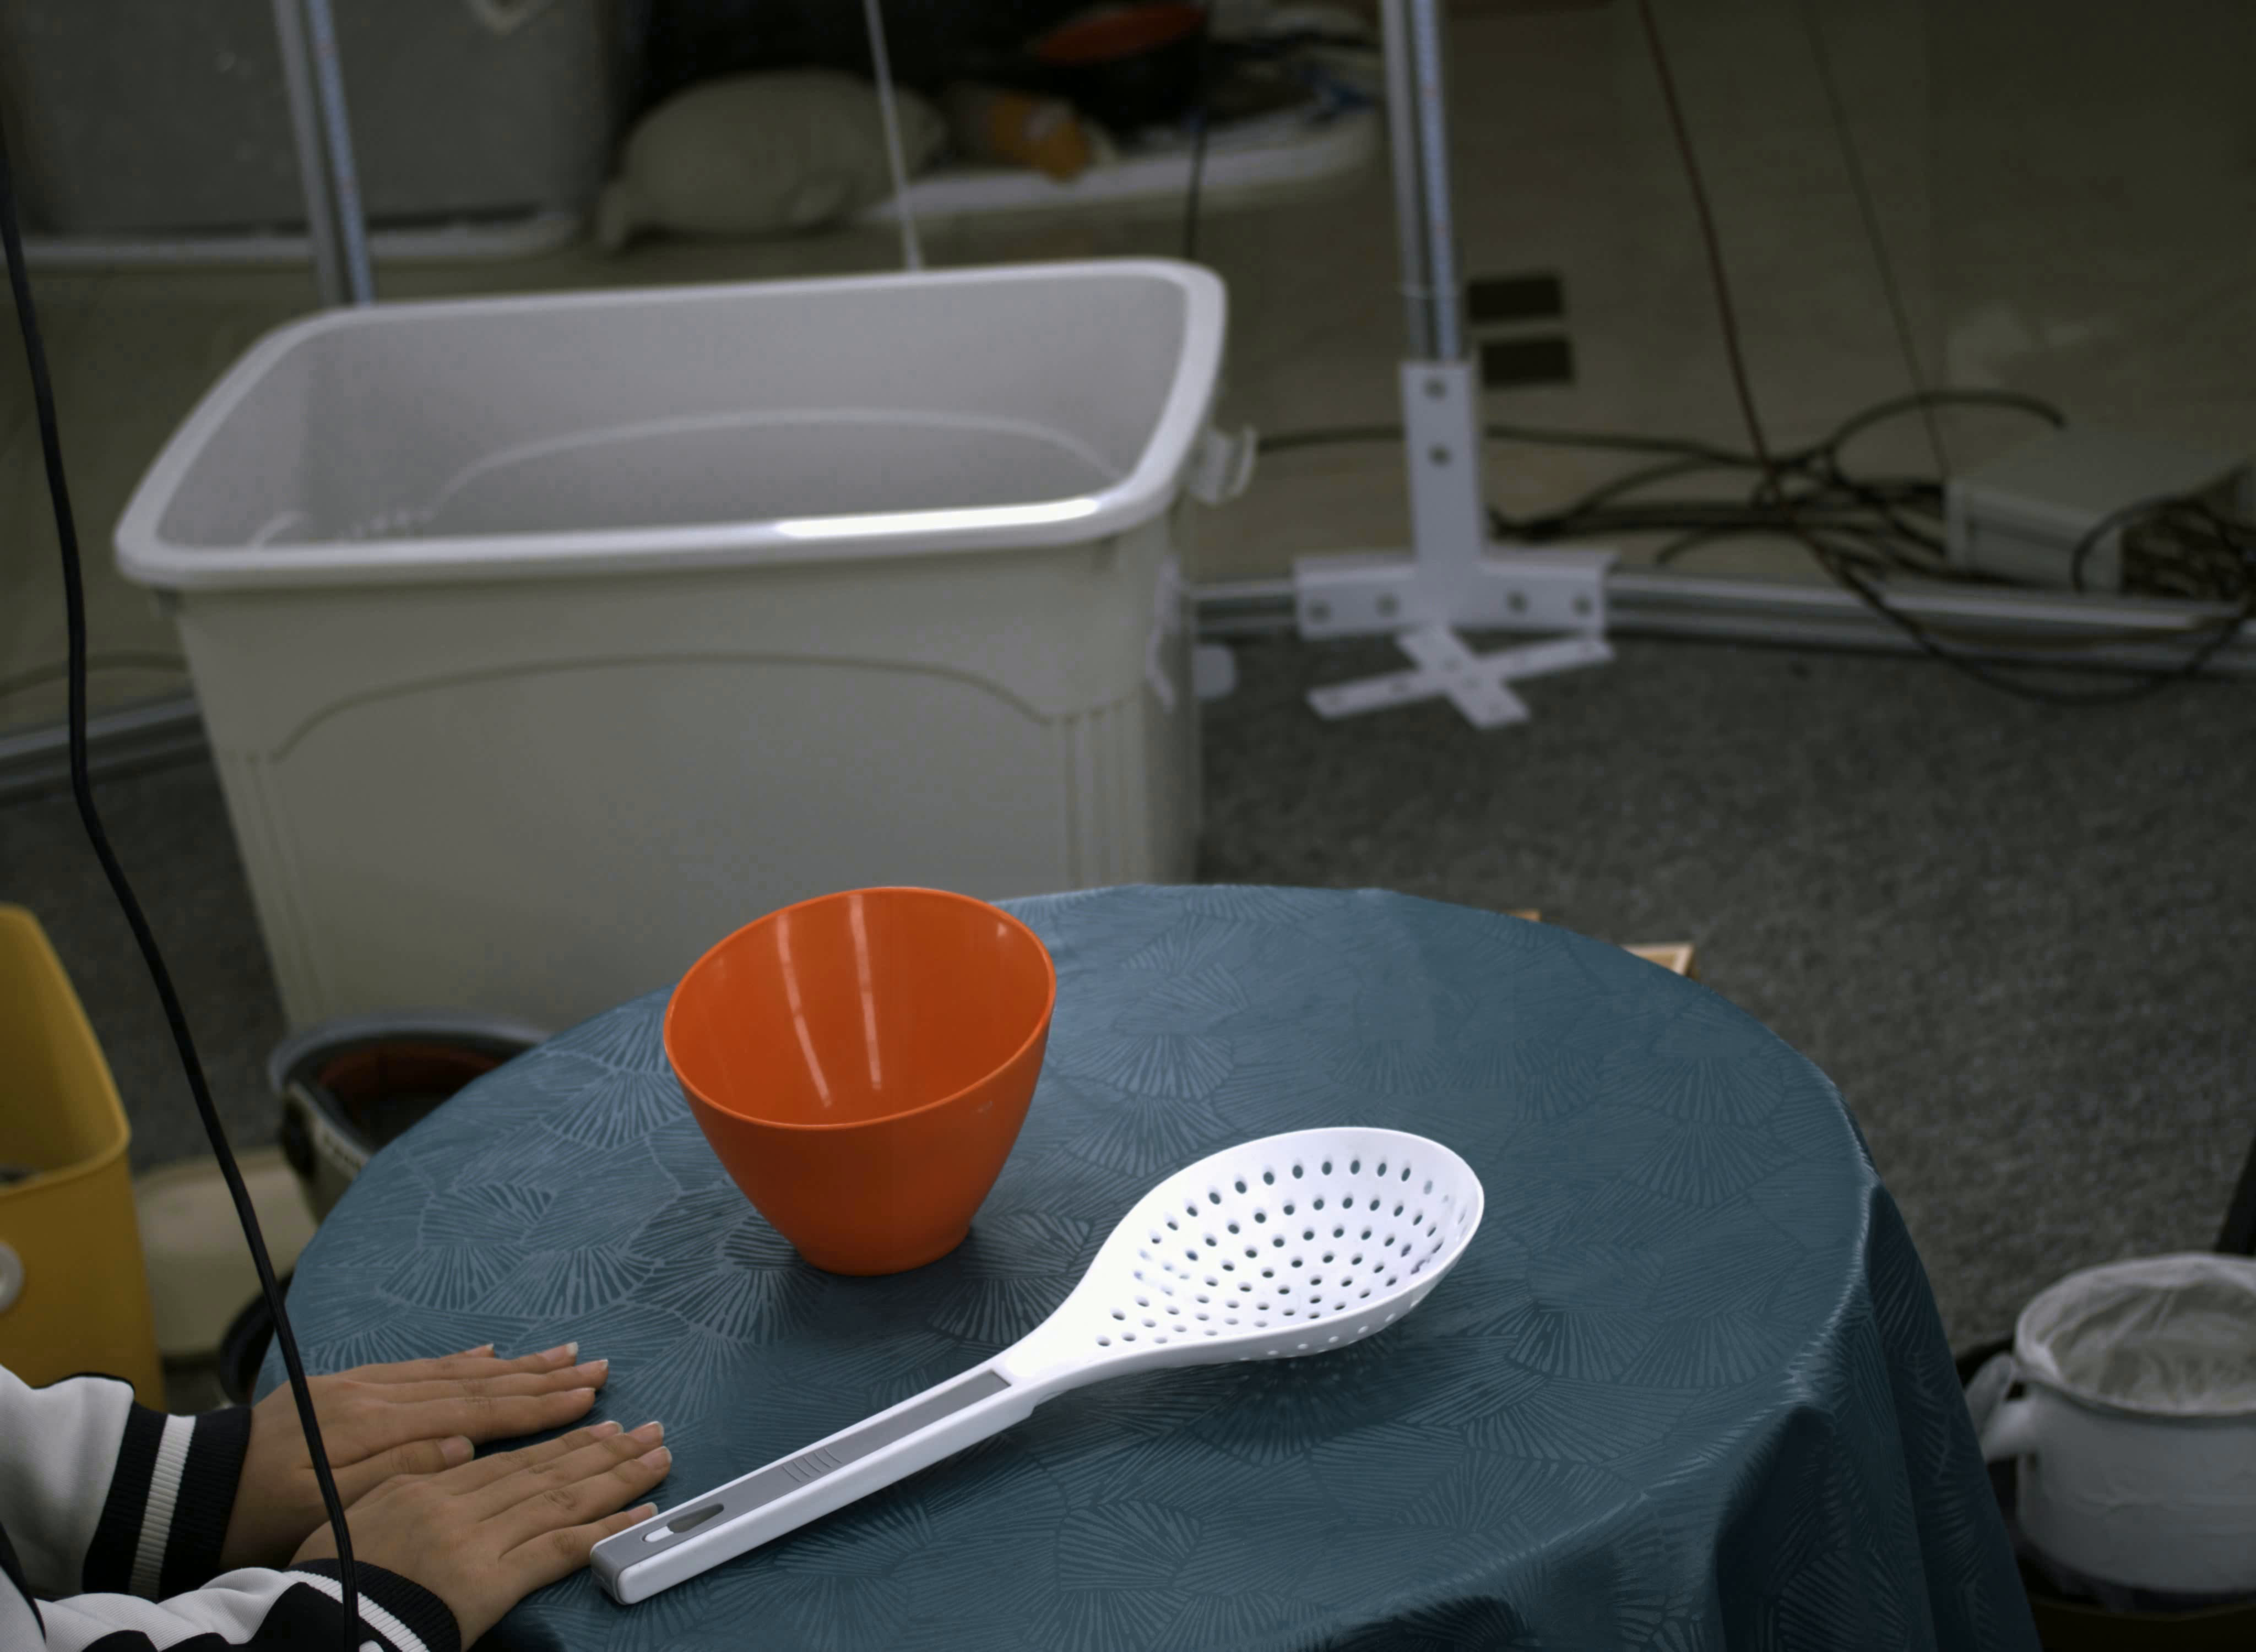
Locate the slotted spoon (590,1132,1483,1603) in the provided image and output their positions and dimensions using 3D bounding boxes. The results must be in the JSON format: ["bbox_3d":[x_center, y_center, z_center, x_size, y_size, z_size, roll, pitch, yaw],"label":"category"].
[{"bbox_3d":[-0.030,0.191,1.990,0.348,0.046,0.134,-19,26,-24],"label":"slotted spoon"}]

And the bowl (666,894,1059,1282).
[{"bbox_3d":[-0.096,0.105,2.126,0.148,0.106,0.146,-3,26,2],"label":"bowl"}]
